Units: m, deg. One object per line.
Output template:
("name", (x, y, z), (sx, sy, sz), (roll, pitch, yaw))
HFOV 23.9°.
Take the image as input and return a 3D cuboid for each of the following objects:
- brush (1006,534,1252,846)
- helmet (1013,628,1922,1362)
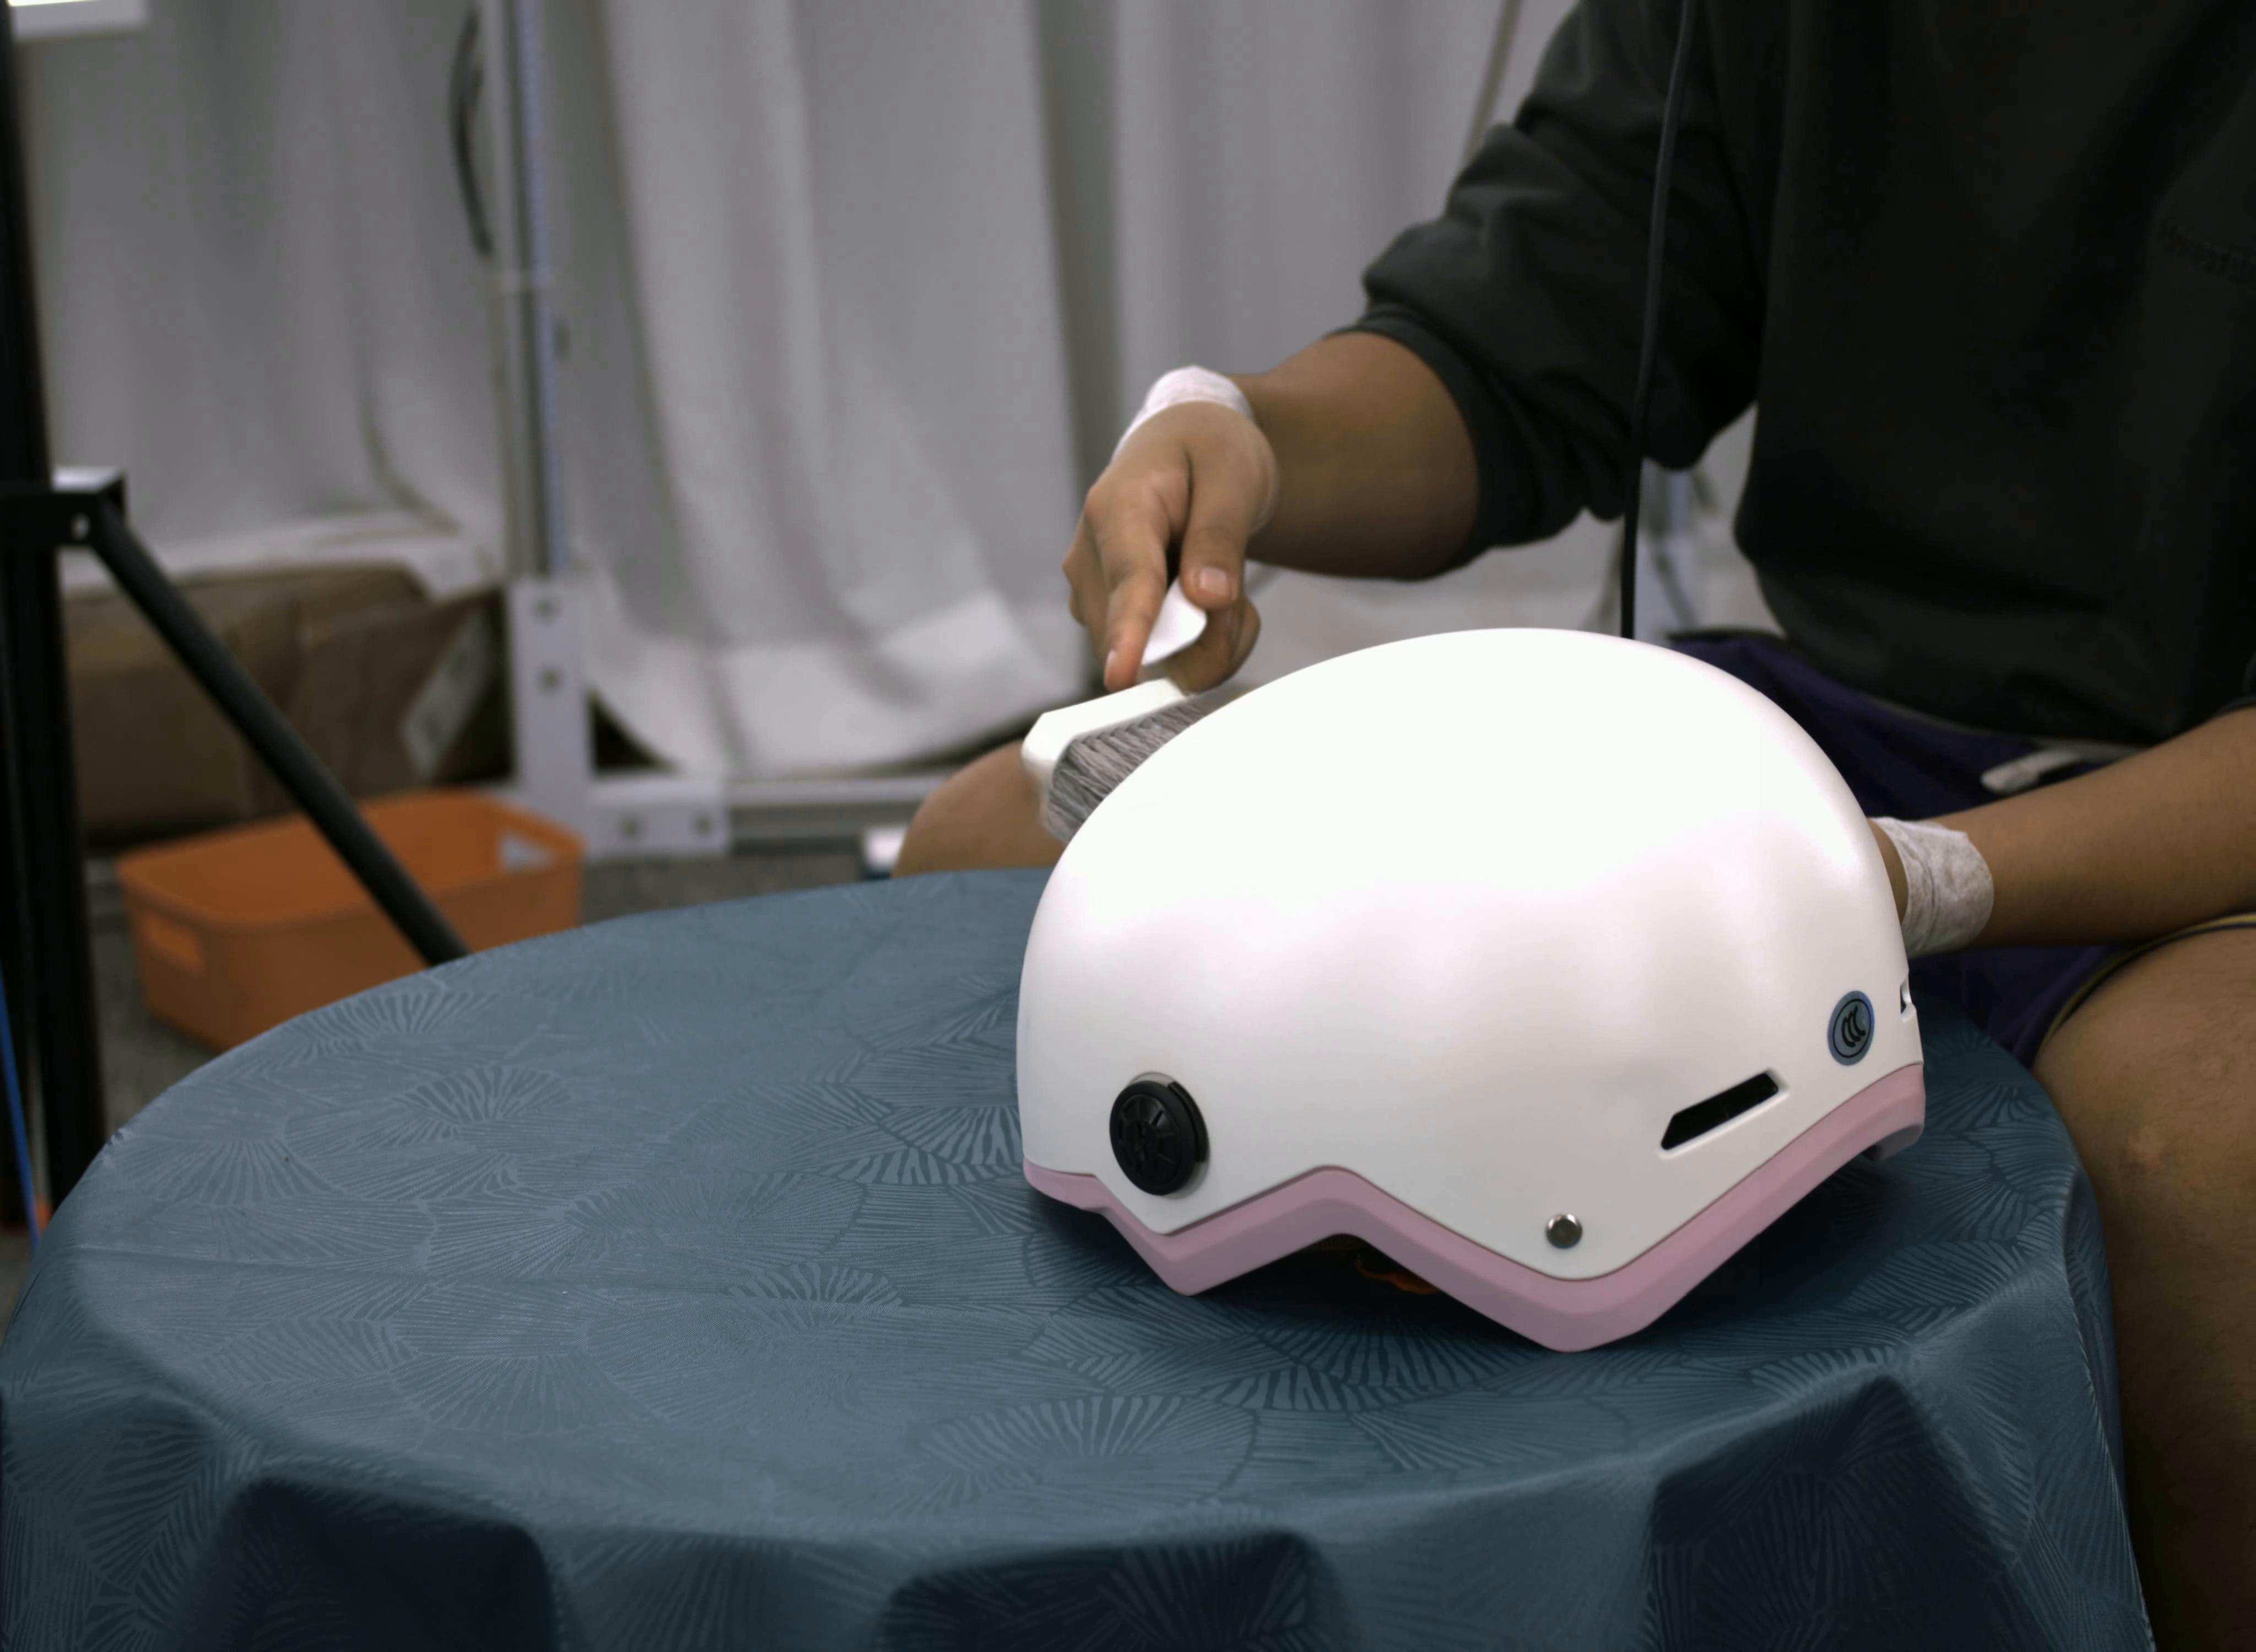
("brush", (0.019, -0.045, 1.688), (0.050, 0.034, 0.241), (29, 24, 6))
("helmet", (0.091, 0.028, 1.512), (0.274, 0.167, 0.232), (11, 23, 39))
